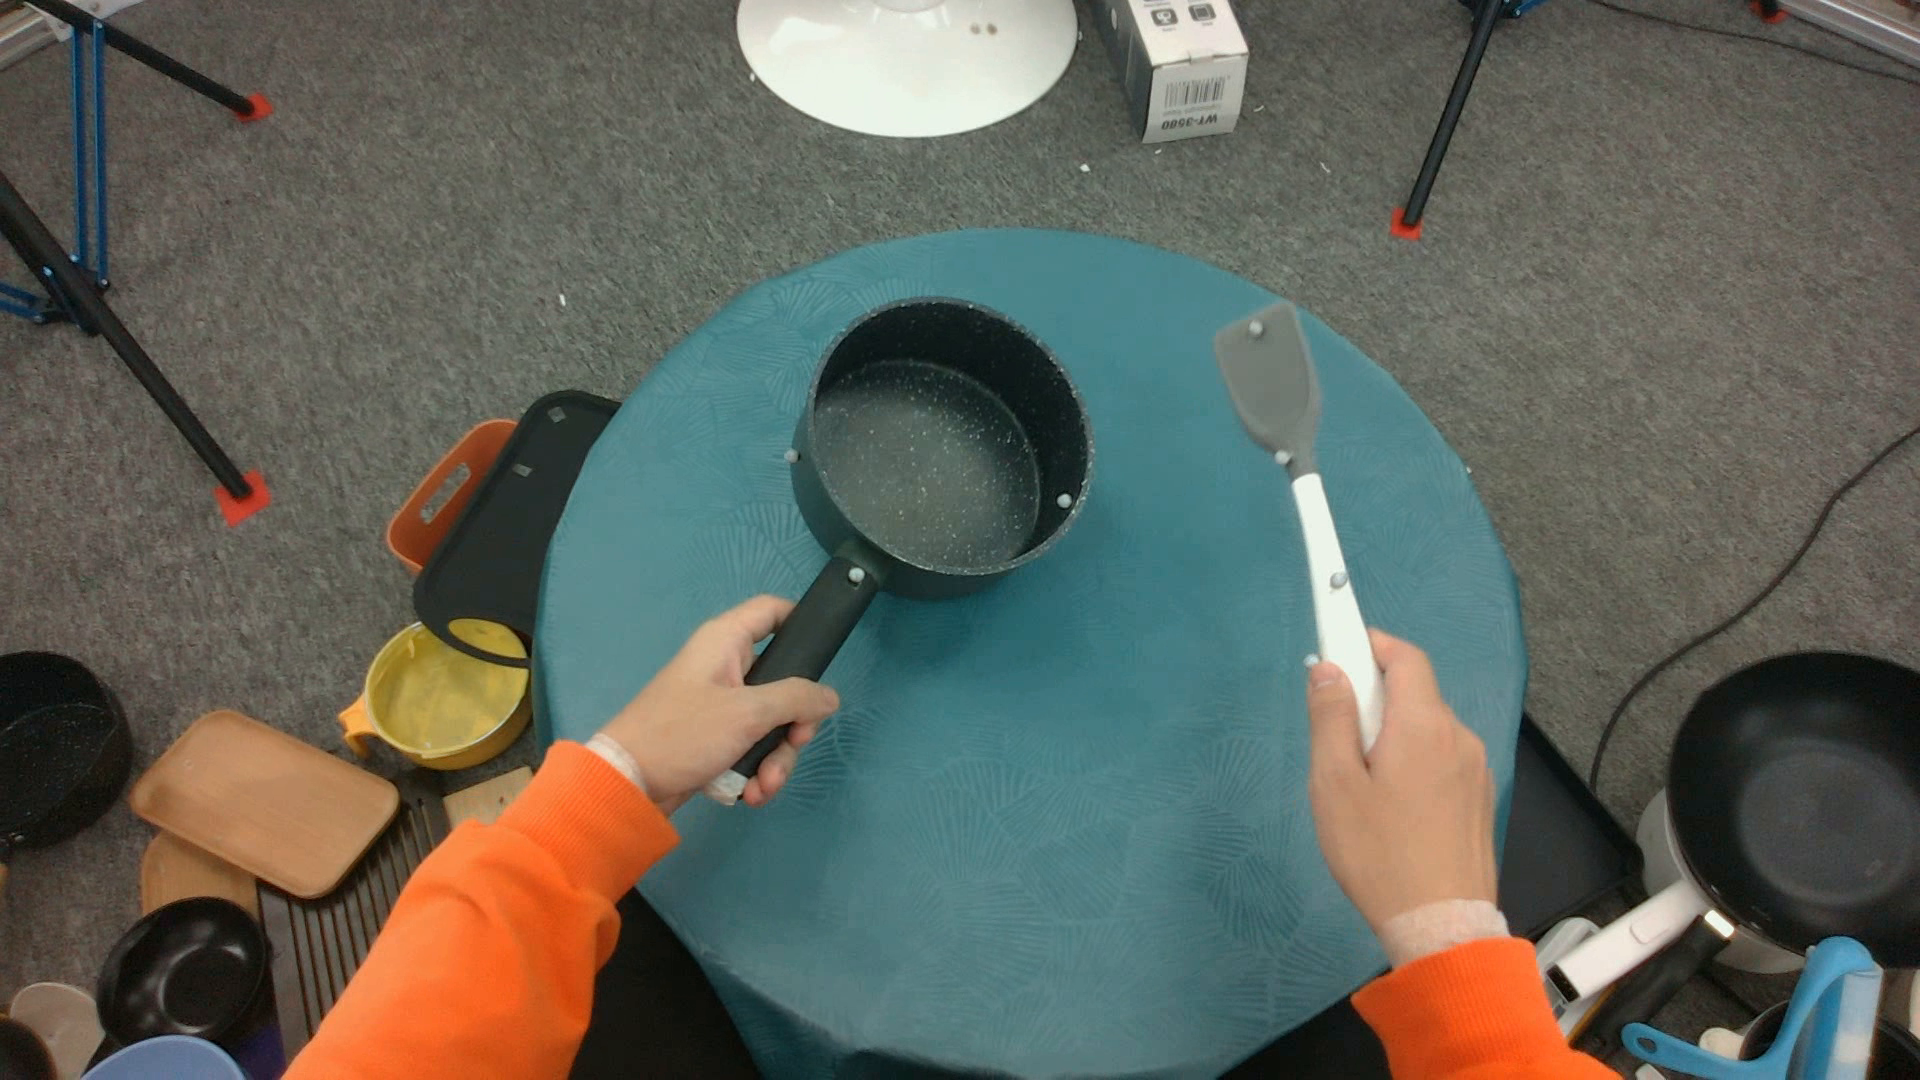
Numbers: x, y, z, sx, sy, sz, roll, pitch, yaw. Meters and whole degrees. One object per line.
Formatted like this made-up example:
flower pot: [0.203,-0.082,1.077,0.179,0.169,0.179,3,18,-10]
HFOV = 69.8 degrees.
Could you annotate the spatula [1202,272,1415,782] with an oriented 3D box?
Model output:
spatula: [0.180,-0.015,0.715,0.032,0.058,0.288,24,48,-42]

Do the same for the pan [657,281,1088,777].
pan: [-0.058,0.000,0.767,0.172,0.086,0.330,37,62,-2]
